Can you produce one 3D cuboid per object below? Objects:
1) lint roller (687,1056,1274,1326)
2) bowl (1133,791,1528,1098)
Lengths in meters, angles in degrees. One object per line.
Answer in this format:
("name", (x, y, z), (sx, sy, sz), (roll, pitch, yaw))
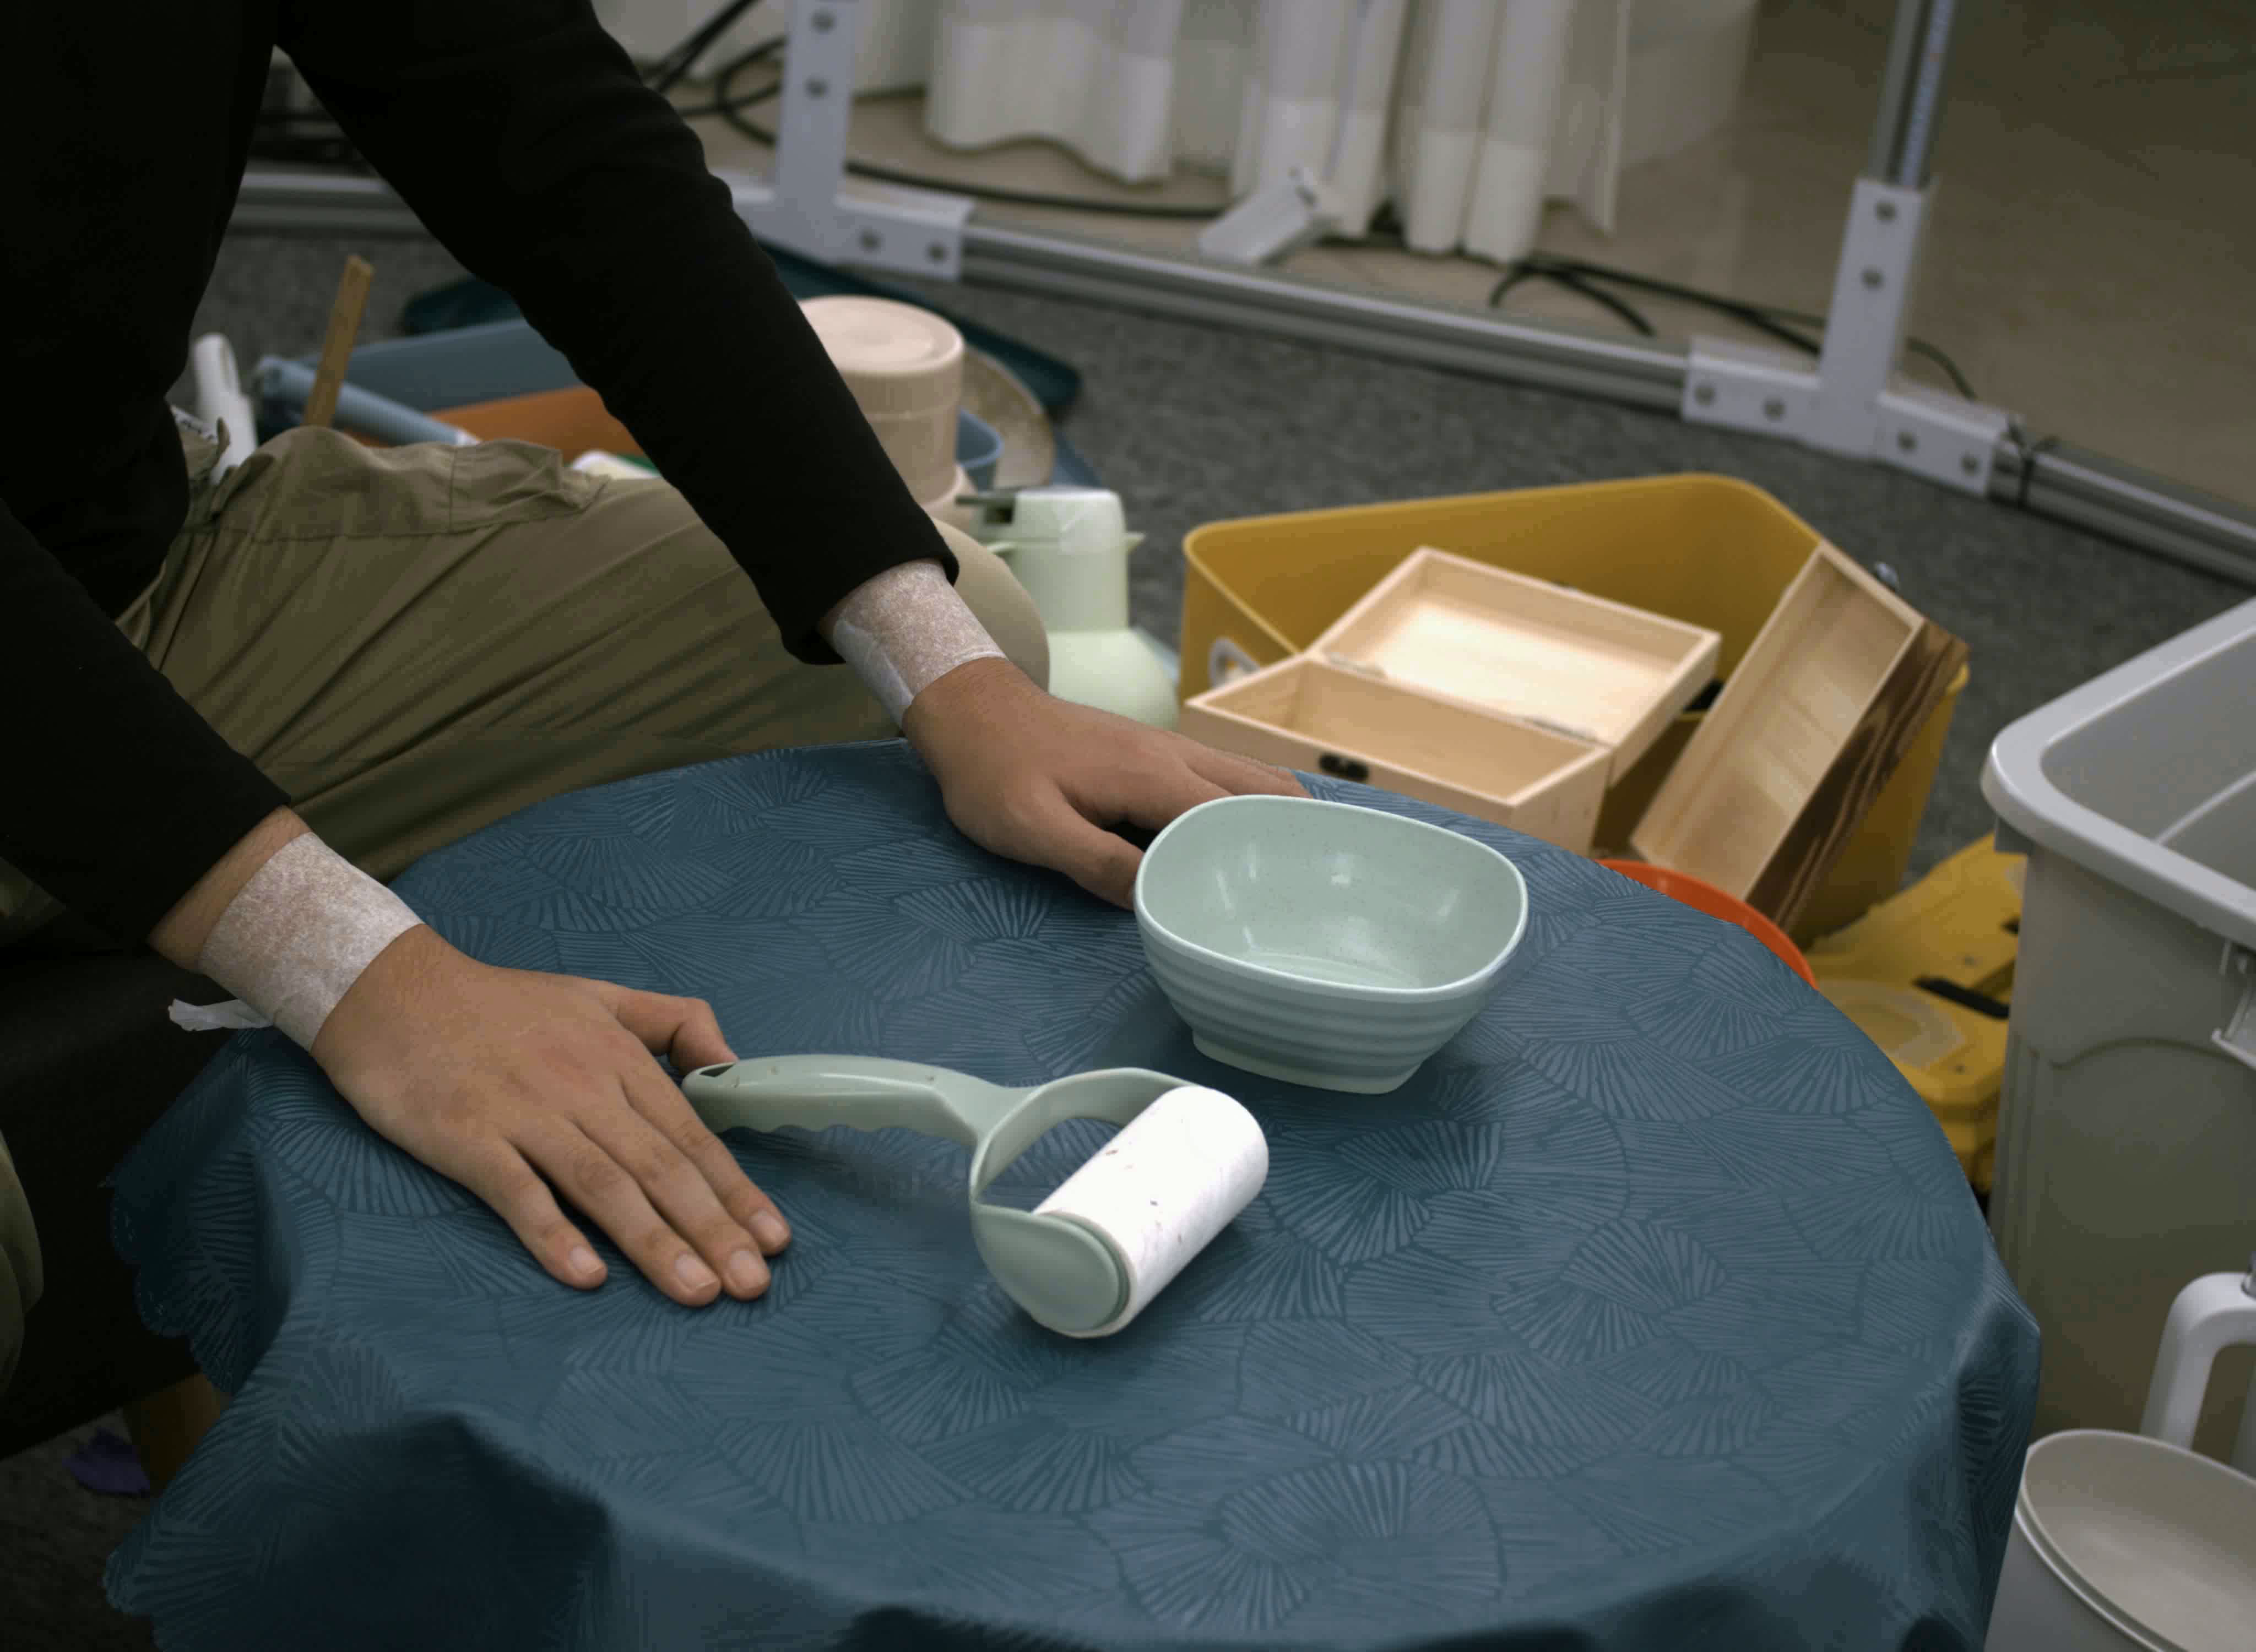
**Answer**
("lint roller", (-0.058, 0.103, 1.780), (0.198, 0.048, 0.116), (17, 29, 22))
("bowl", (0.069, 0.048, 1.904), (0.151, 0.058, 0.152), (6, 28, -3))
